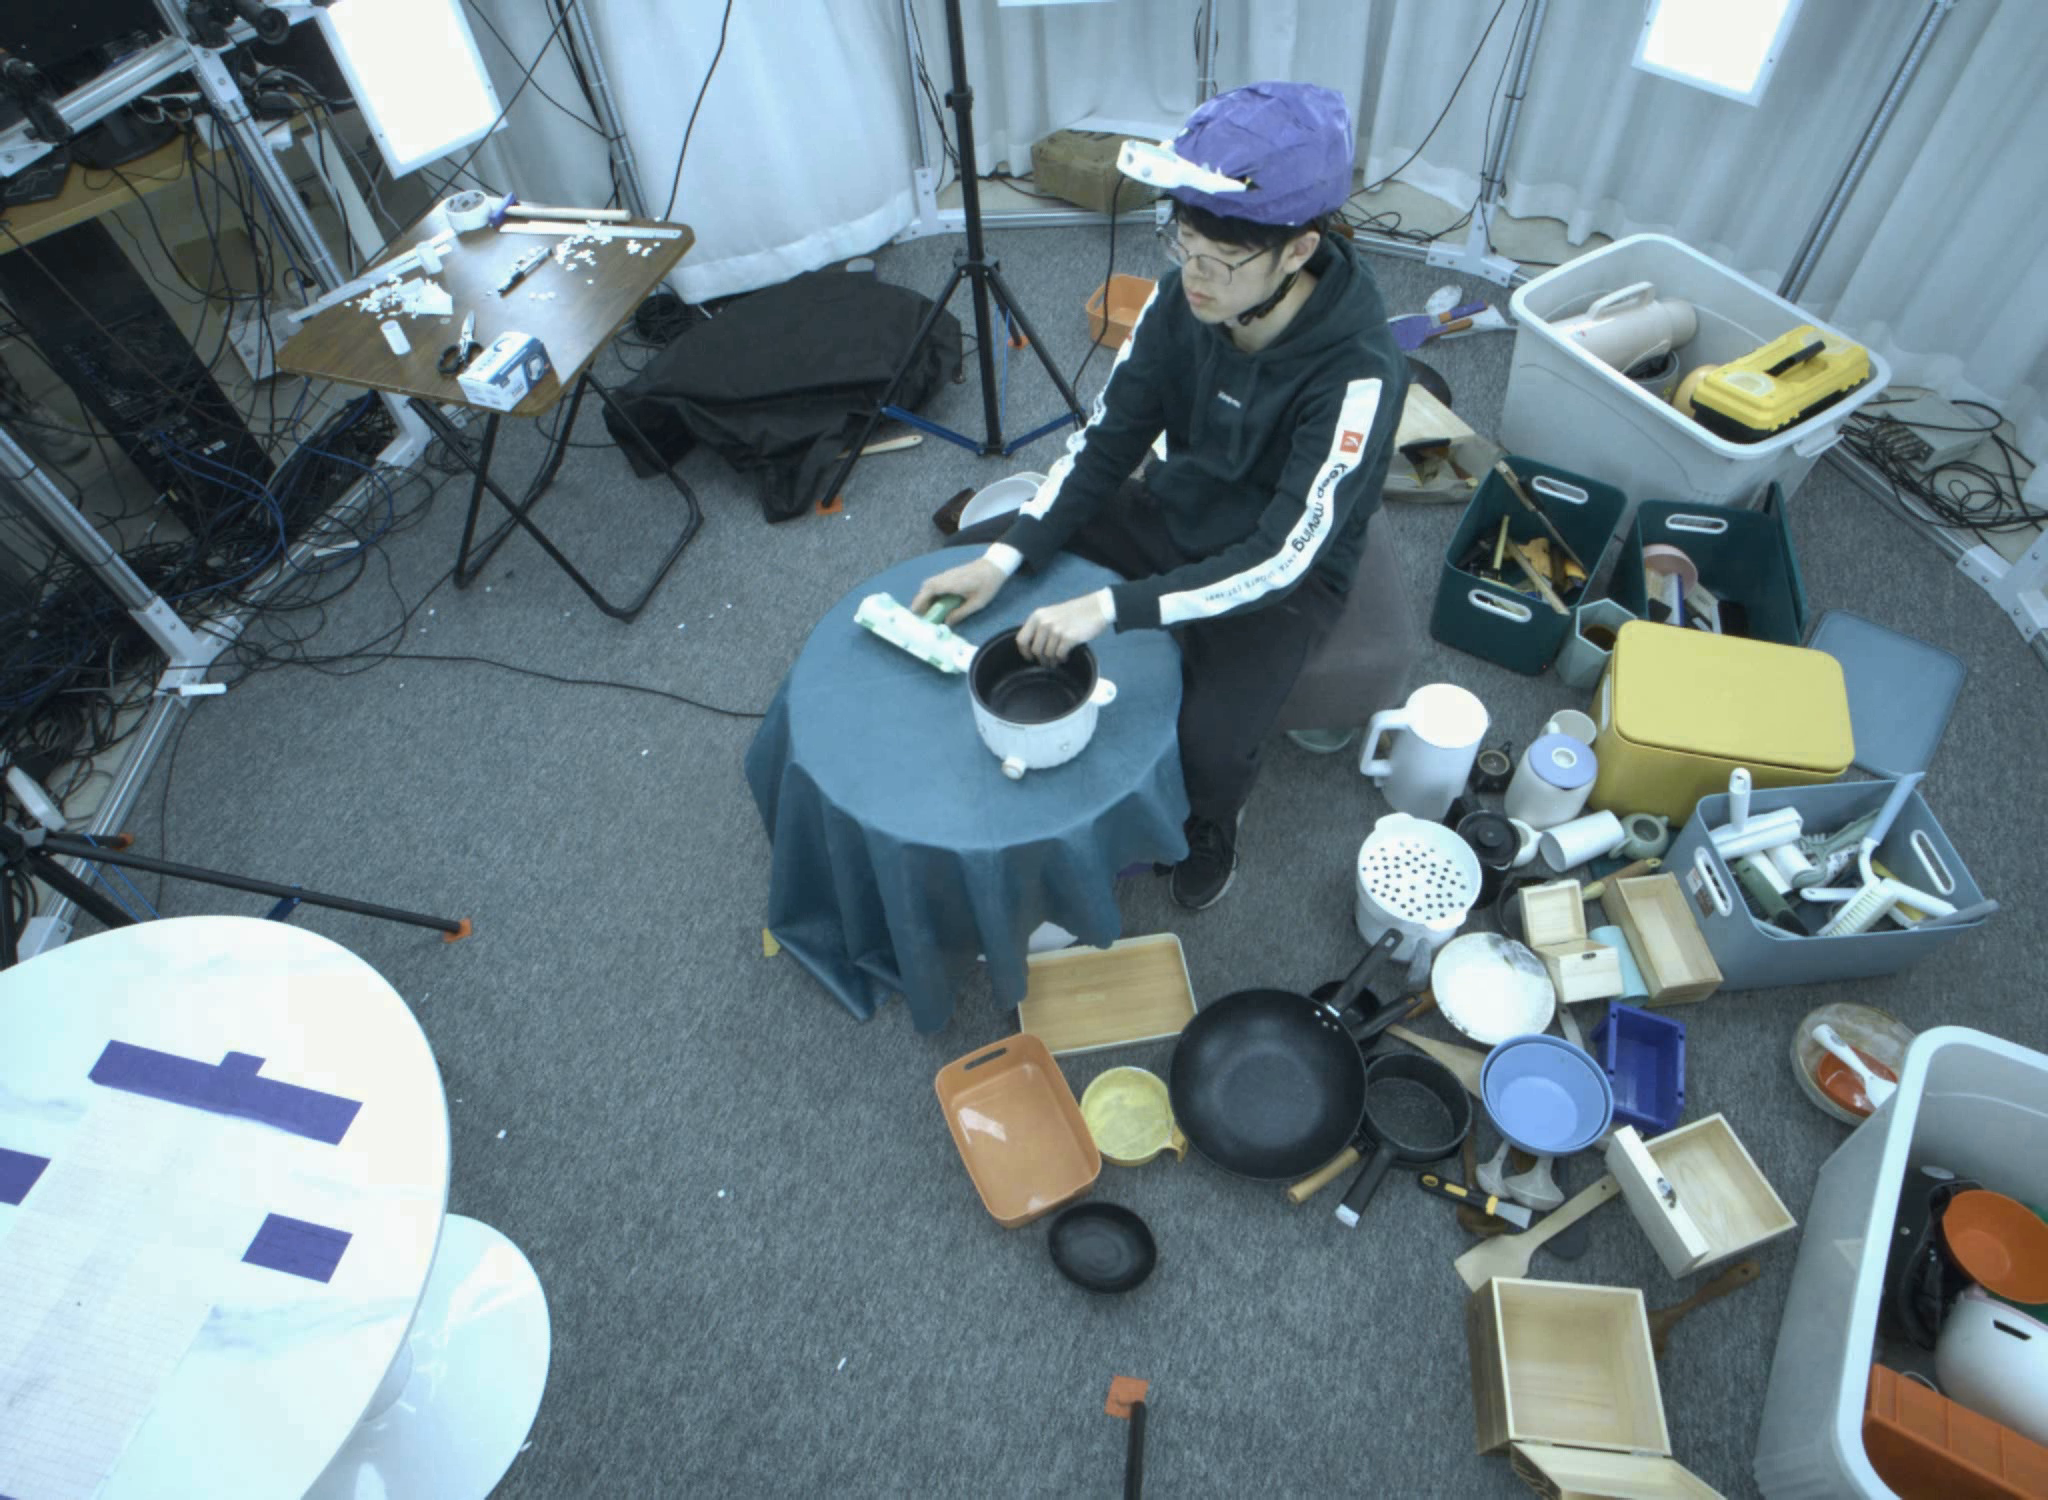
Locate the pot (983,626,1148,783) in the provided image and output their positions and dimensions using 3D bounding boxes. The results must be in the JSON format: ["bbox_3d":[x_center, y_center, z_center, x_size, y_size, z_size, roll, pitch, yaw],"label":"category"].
[{"bbox_3d":[0.058,-0.059,1.738,0.238,0.144,0.190,16,54,15],"label":"pot"}]

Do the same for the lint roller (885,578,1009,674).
[{"bbox_3d":[-0.088,-0.222,1.897,0.195,0.083,0.184,32,67,23],"label":"lint roller"}]
